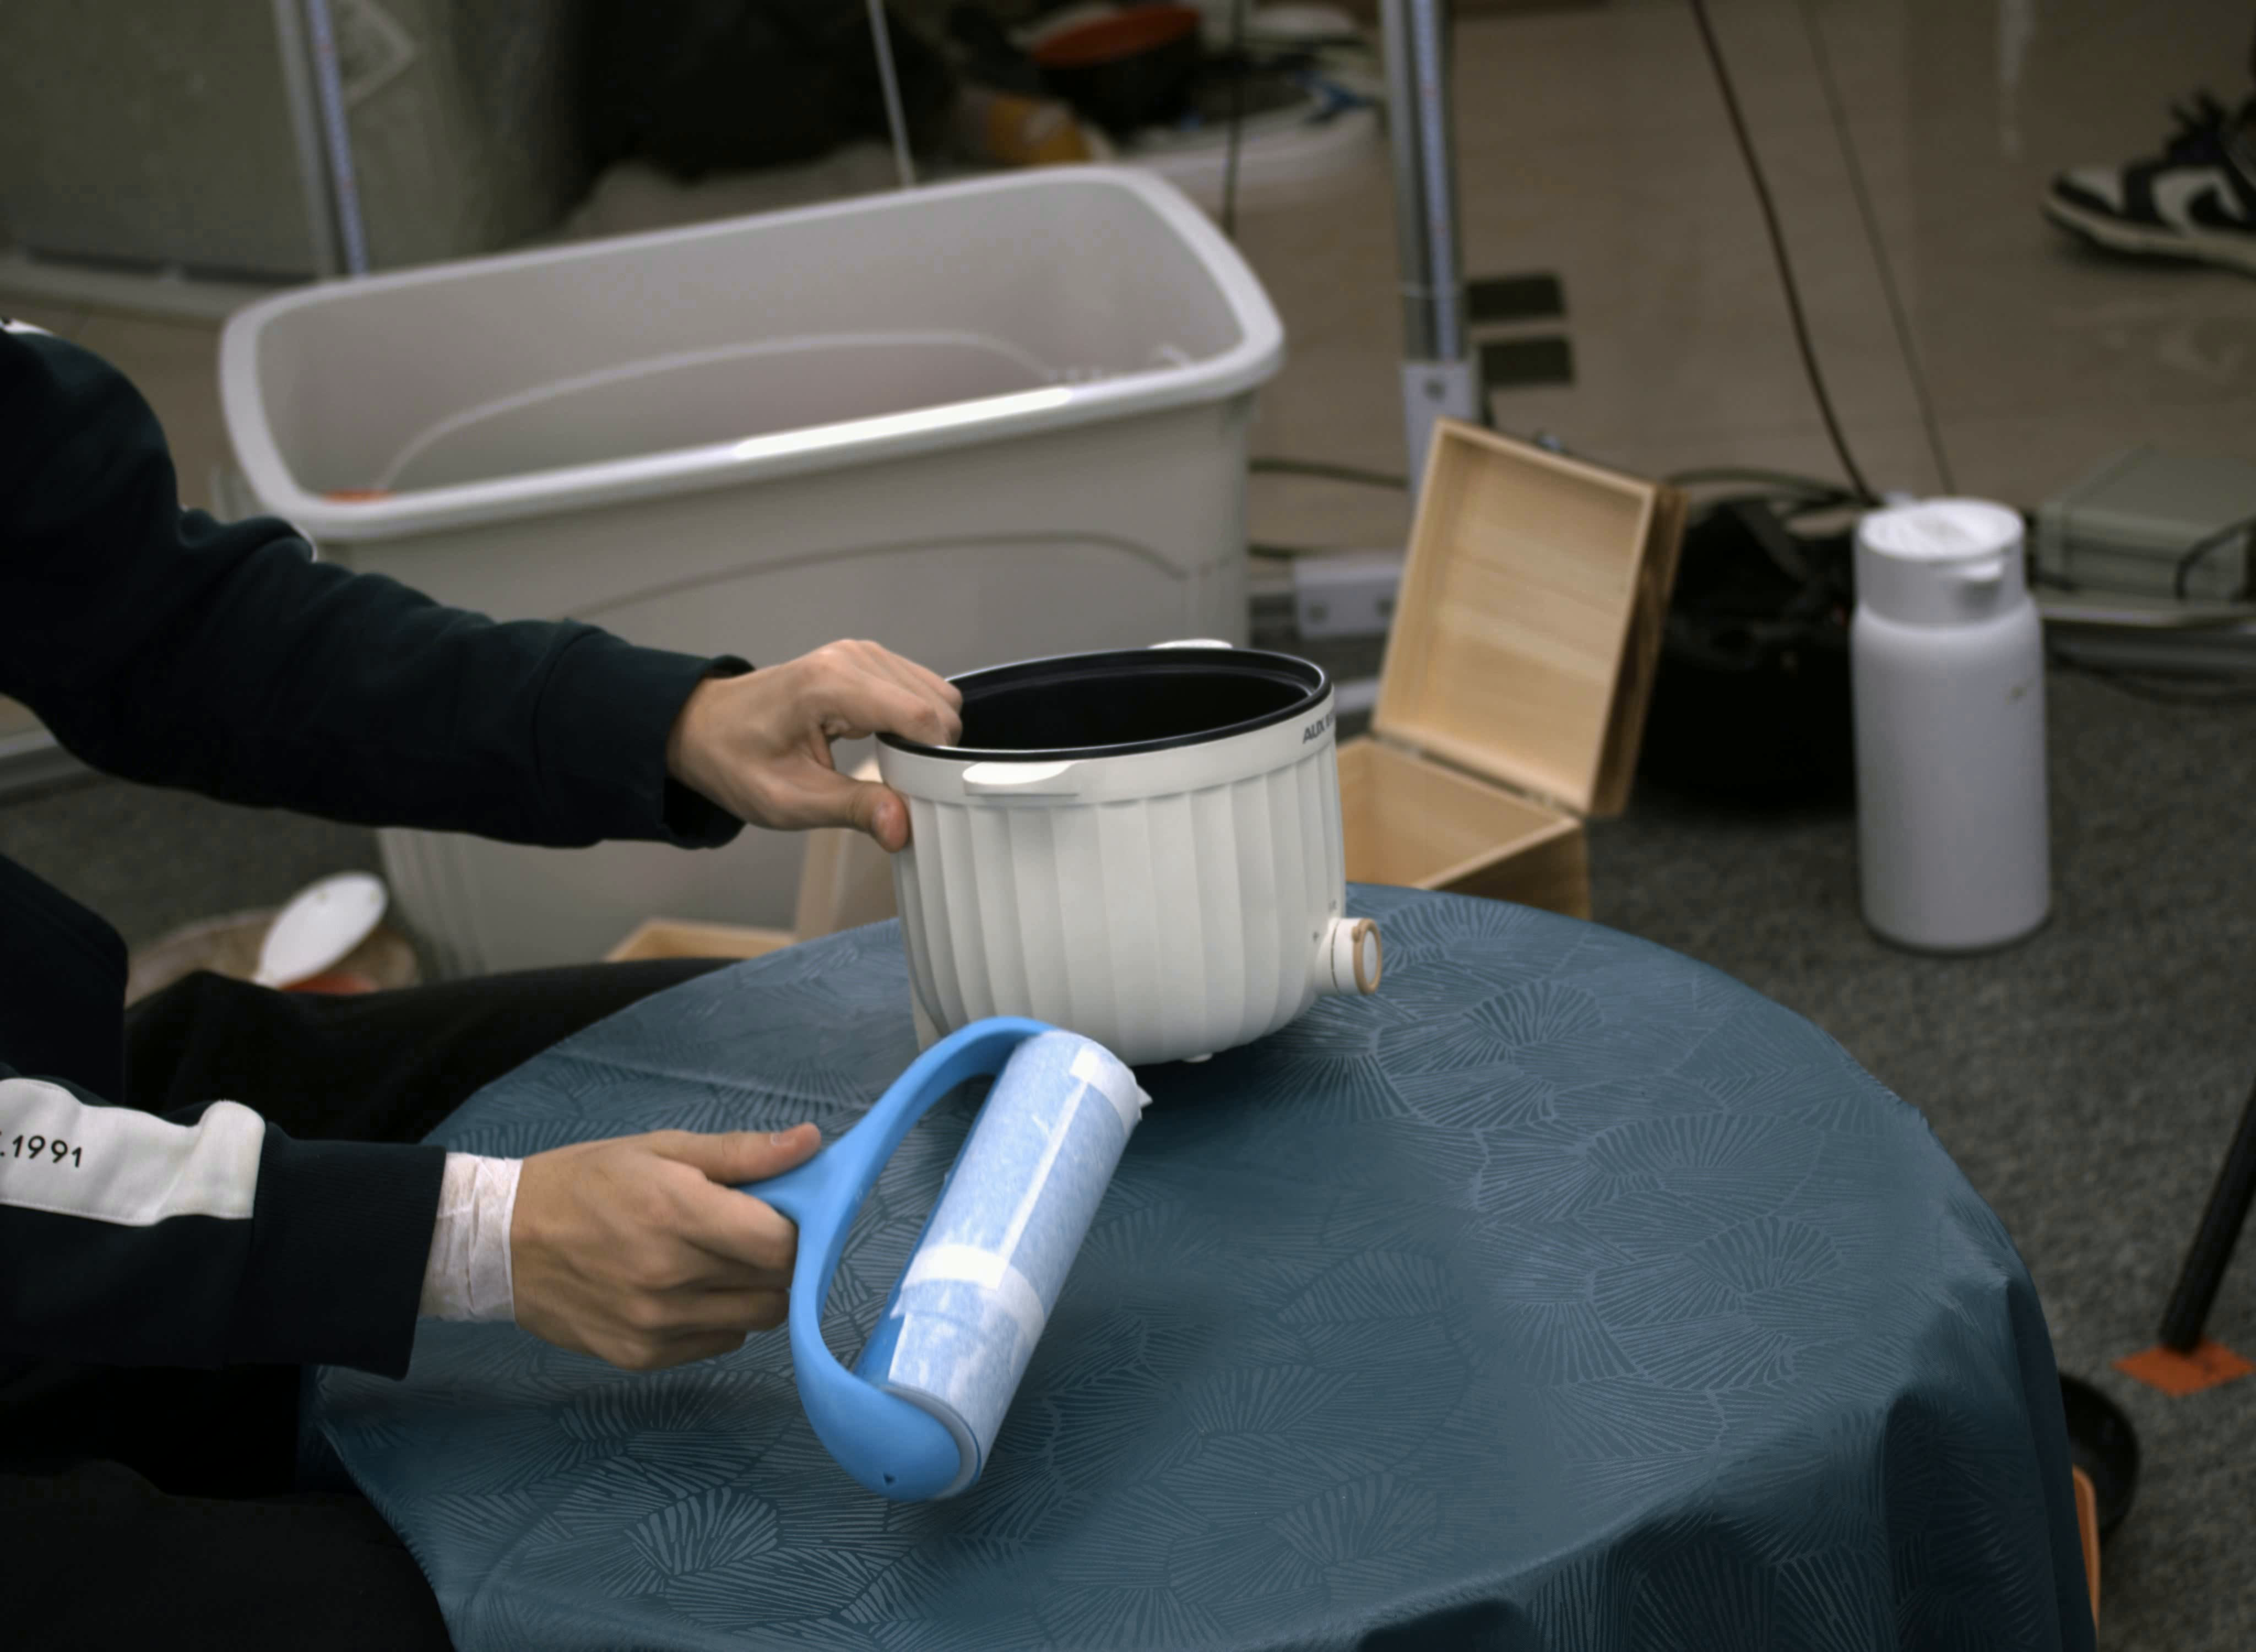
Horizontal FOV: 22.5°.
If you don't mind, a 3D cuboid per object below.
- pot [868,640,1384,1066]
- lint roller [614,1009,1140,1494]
[{"bbox_3d":[0.001,0.013,2.224,0.190,0.144,0.238,-4,15,20],"label":"pot"},{"bbox_3d":[-0.104,0.148,2.001,0.180,0.069,0.225,1,38,16],"label":"lint roller"}]
